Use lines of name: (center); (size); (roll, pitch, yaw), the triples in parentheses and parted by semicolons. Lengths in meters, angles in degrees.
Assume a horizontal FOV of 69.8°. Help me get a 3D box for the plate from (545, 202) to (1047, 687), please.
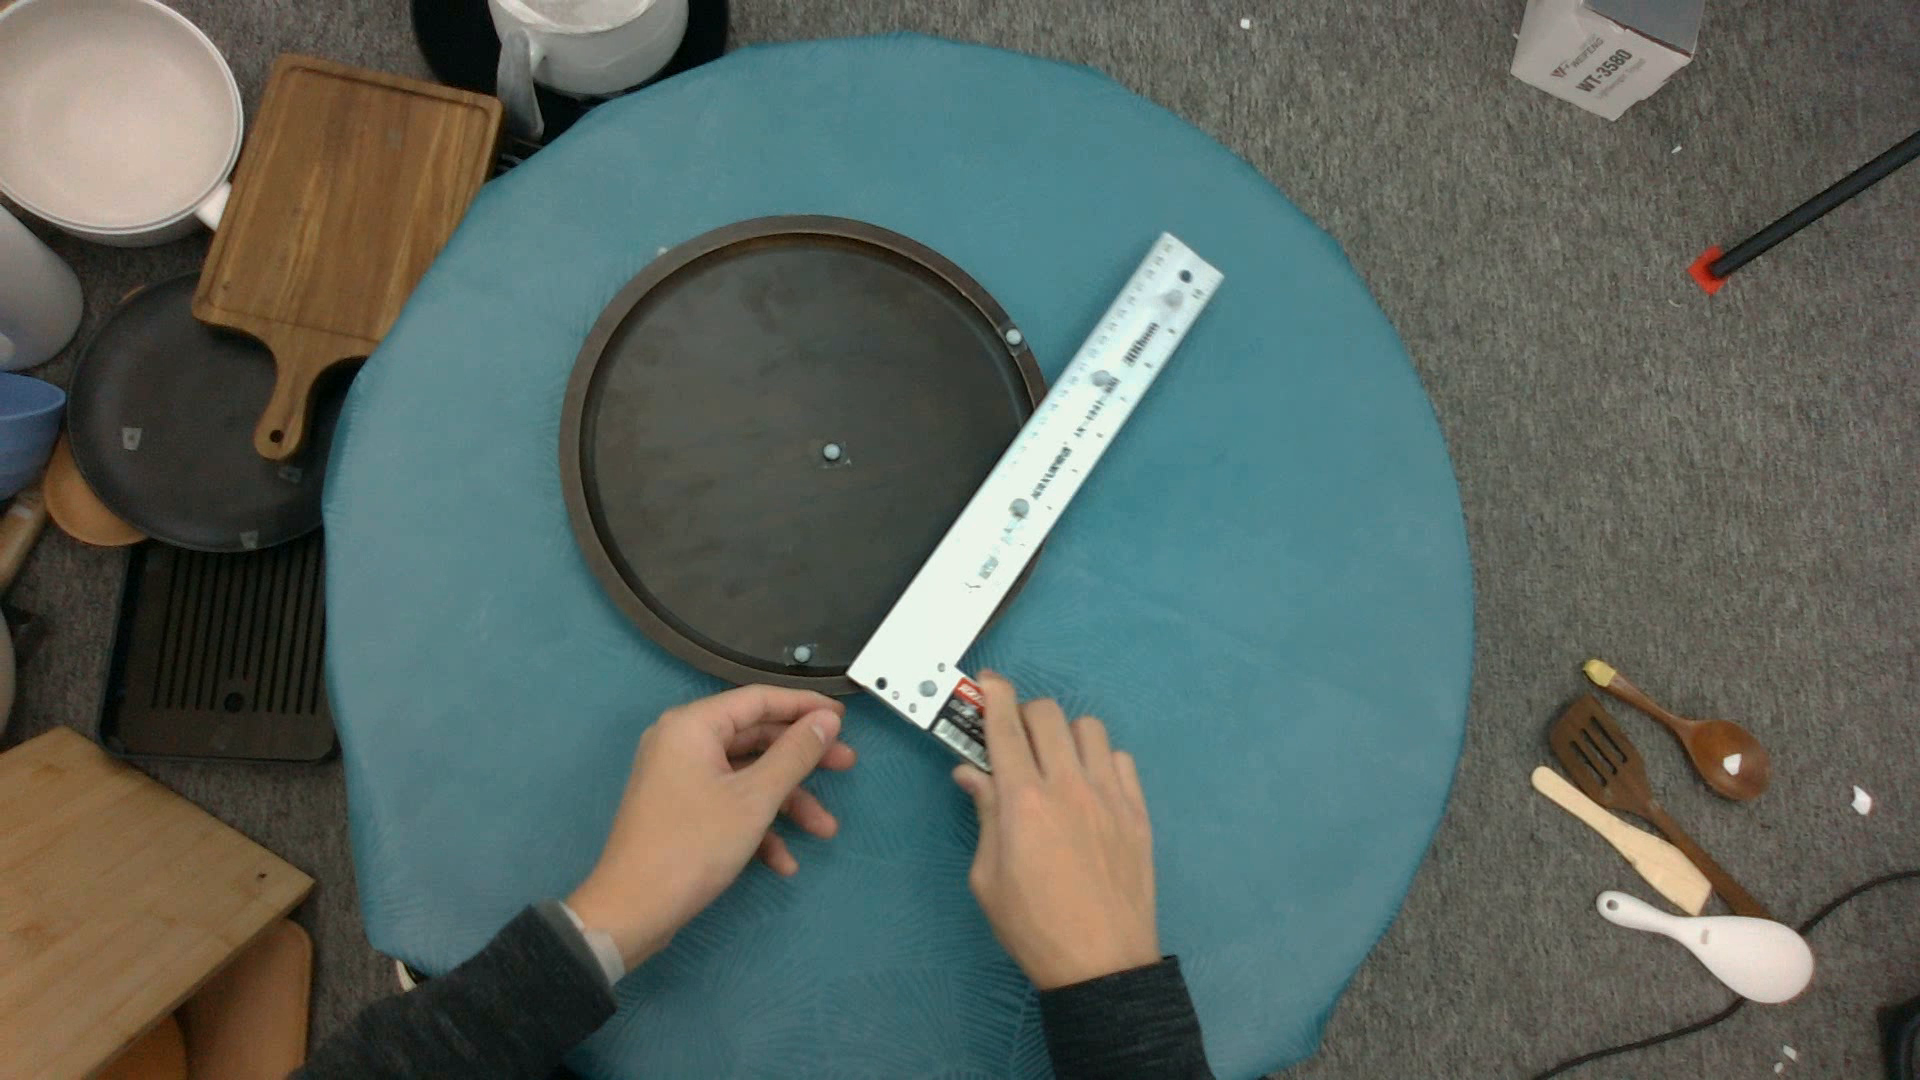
plate: (-0.080, -0.051, 0.703); (0.255, 0.029, 0.255); (3, 77, -12)

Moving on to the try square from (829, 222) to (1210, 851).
try square: (0.080, -0.011, 0.716); (0.152, 0.016, 0.314); (38, 70, -5)
